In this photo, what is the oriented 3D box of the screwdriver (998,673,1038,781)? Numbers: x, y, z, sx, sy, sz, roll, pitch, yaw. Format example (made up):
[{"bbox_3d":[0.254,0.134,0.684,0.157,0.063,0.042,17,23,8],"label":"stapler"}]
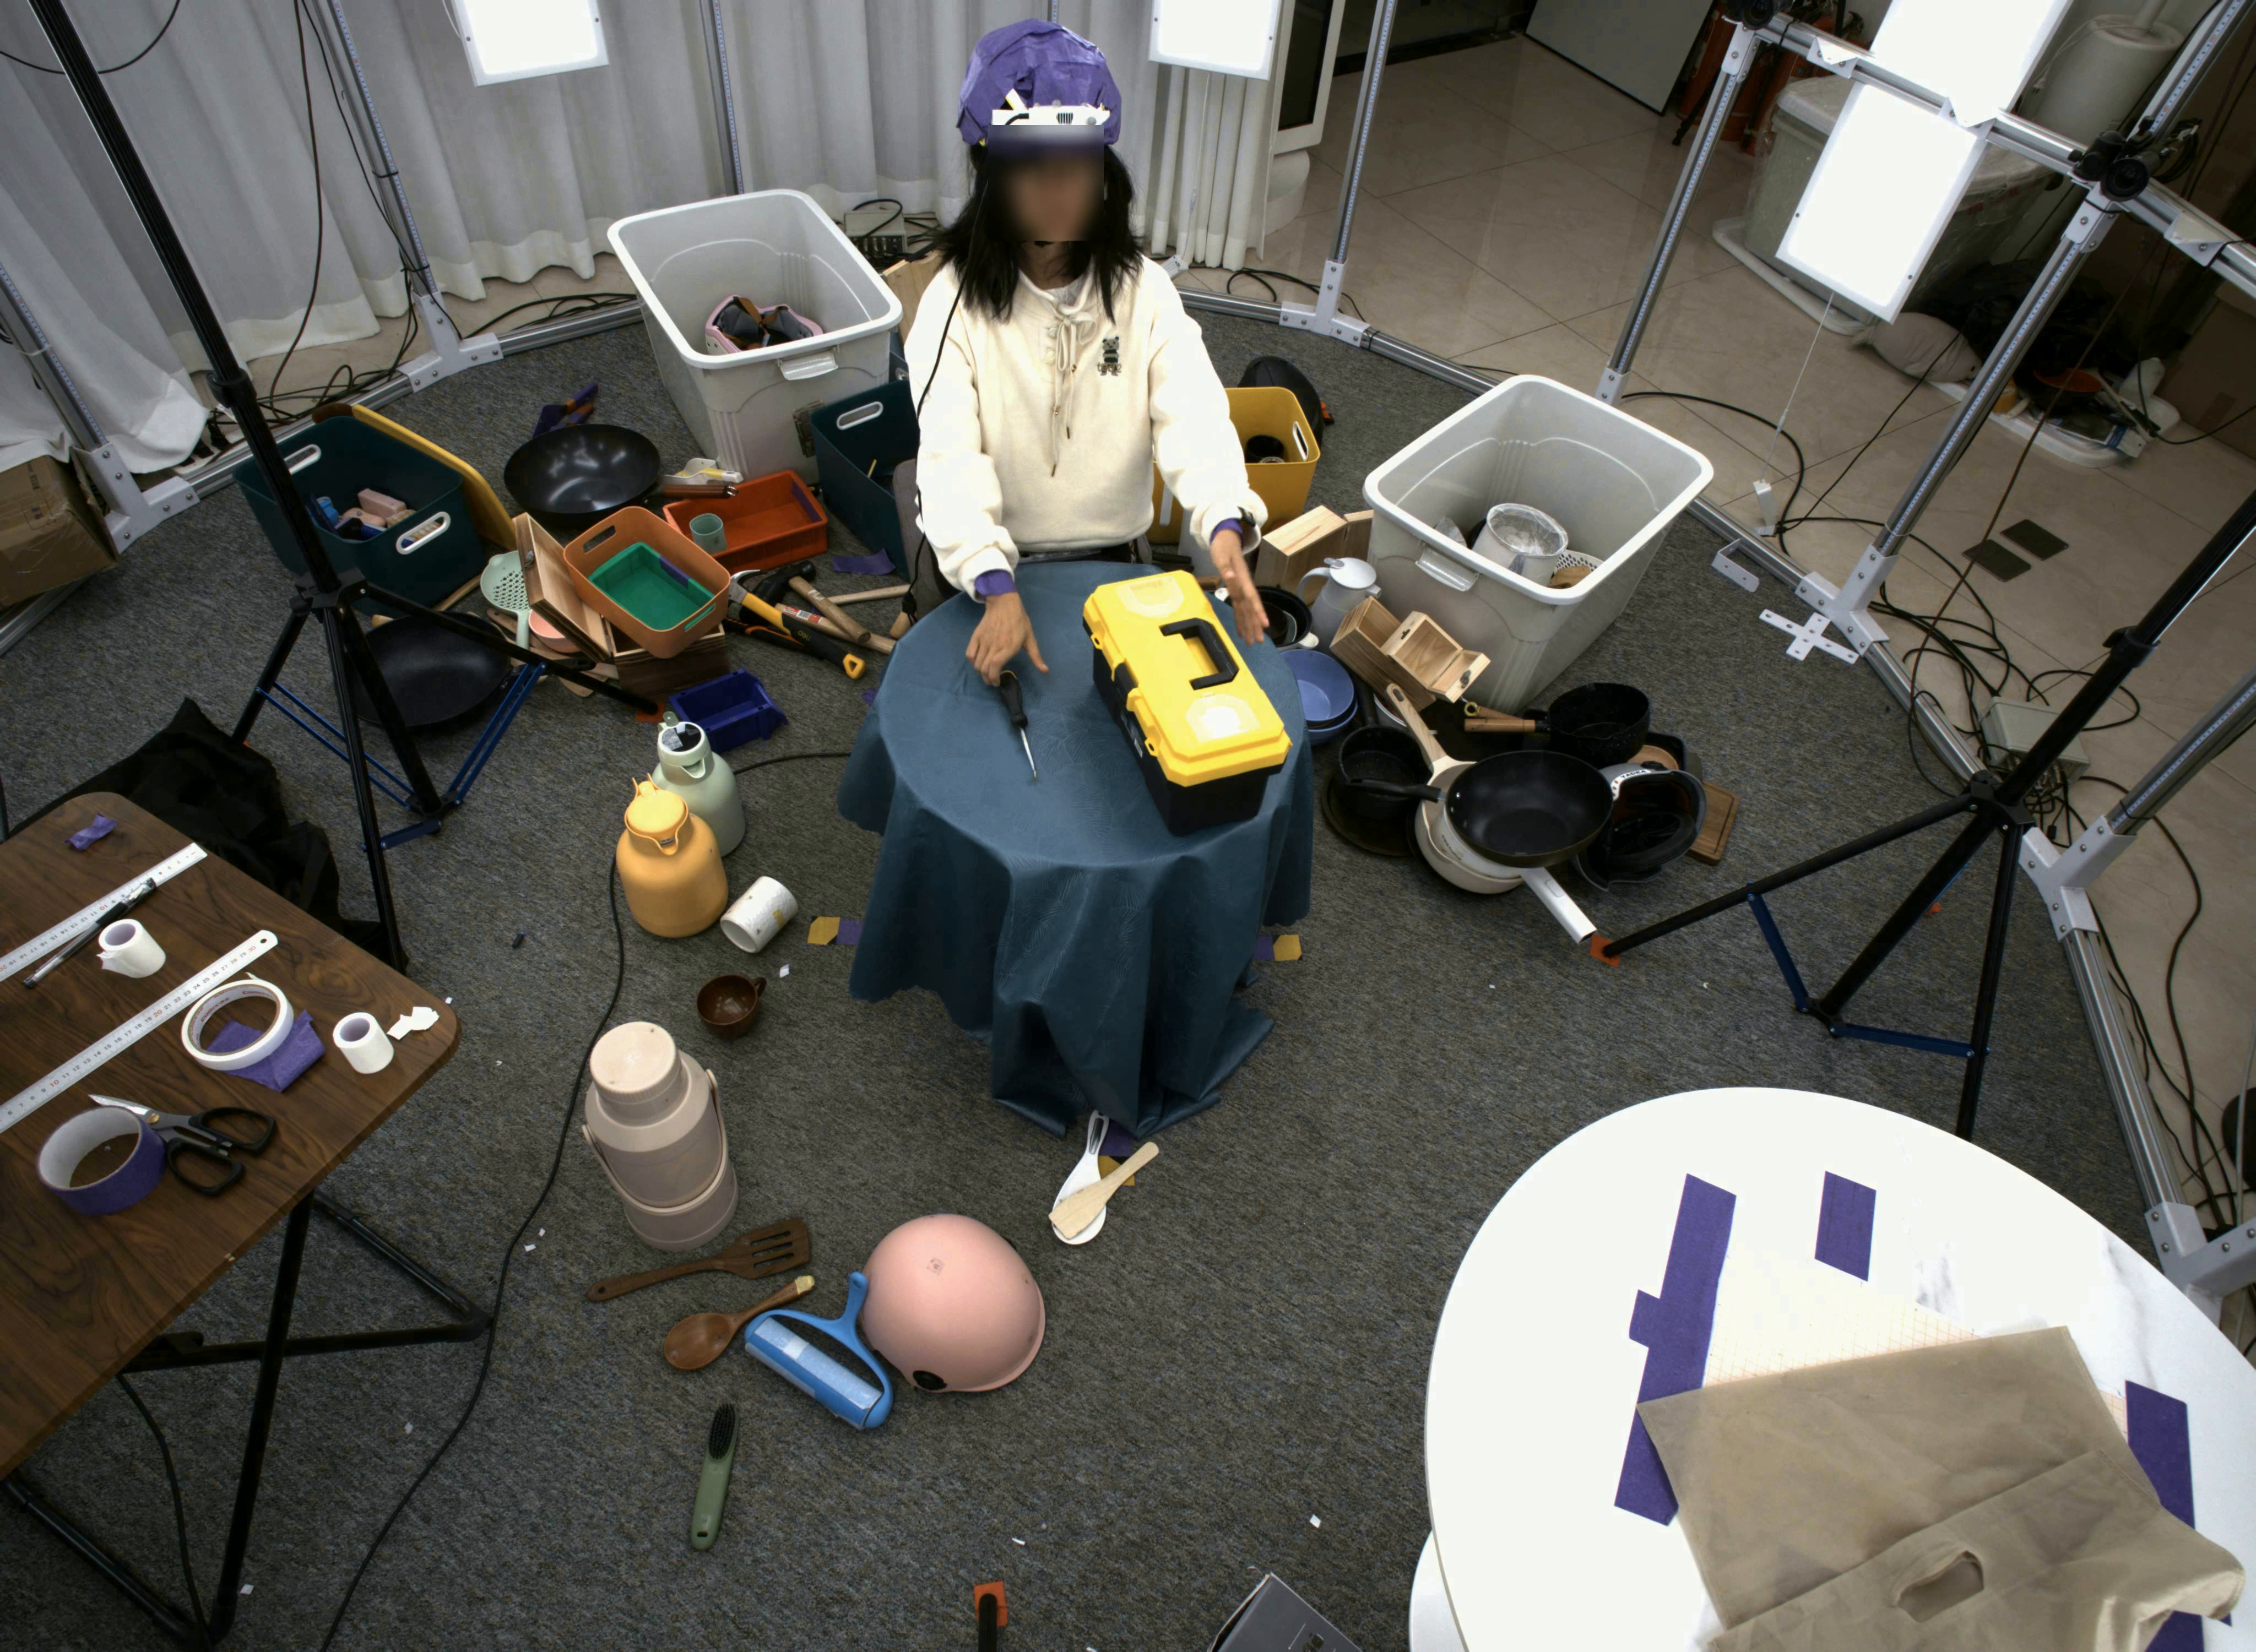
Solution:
[{"bbox_3d":[-0.150,-0.135,1.770,0.031,0.031,0.202,-9,55,-12],"label":"screwdriver"}]

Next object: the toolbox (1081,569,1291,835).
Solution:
[{"bbox_3d":[0.068,-0.167,1.708,0.181,0.168,0.360,-13,51,-15],"label":"toolbox"}]
